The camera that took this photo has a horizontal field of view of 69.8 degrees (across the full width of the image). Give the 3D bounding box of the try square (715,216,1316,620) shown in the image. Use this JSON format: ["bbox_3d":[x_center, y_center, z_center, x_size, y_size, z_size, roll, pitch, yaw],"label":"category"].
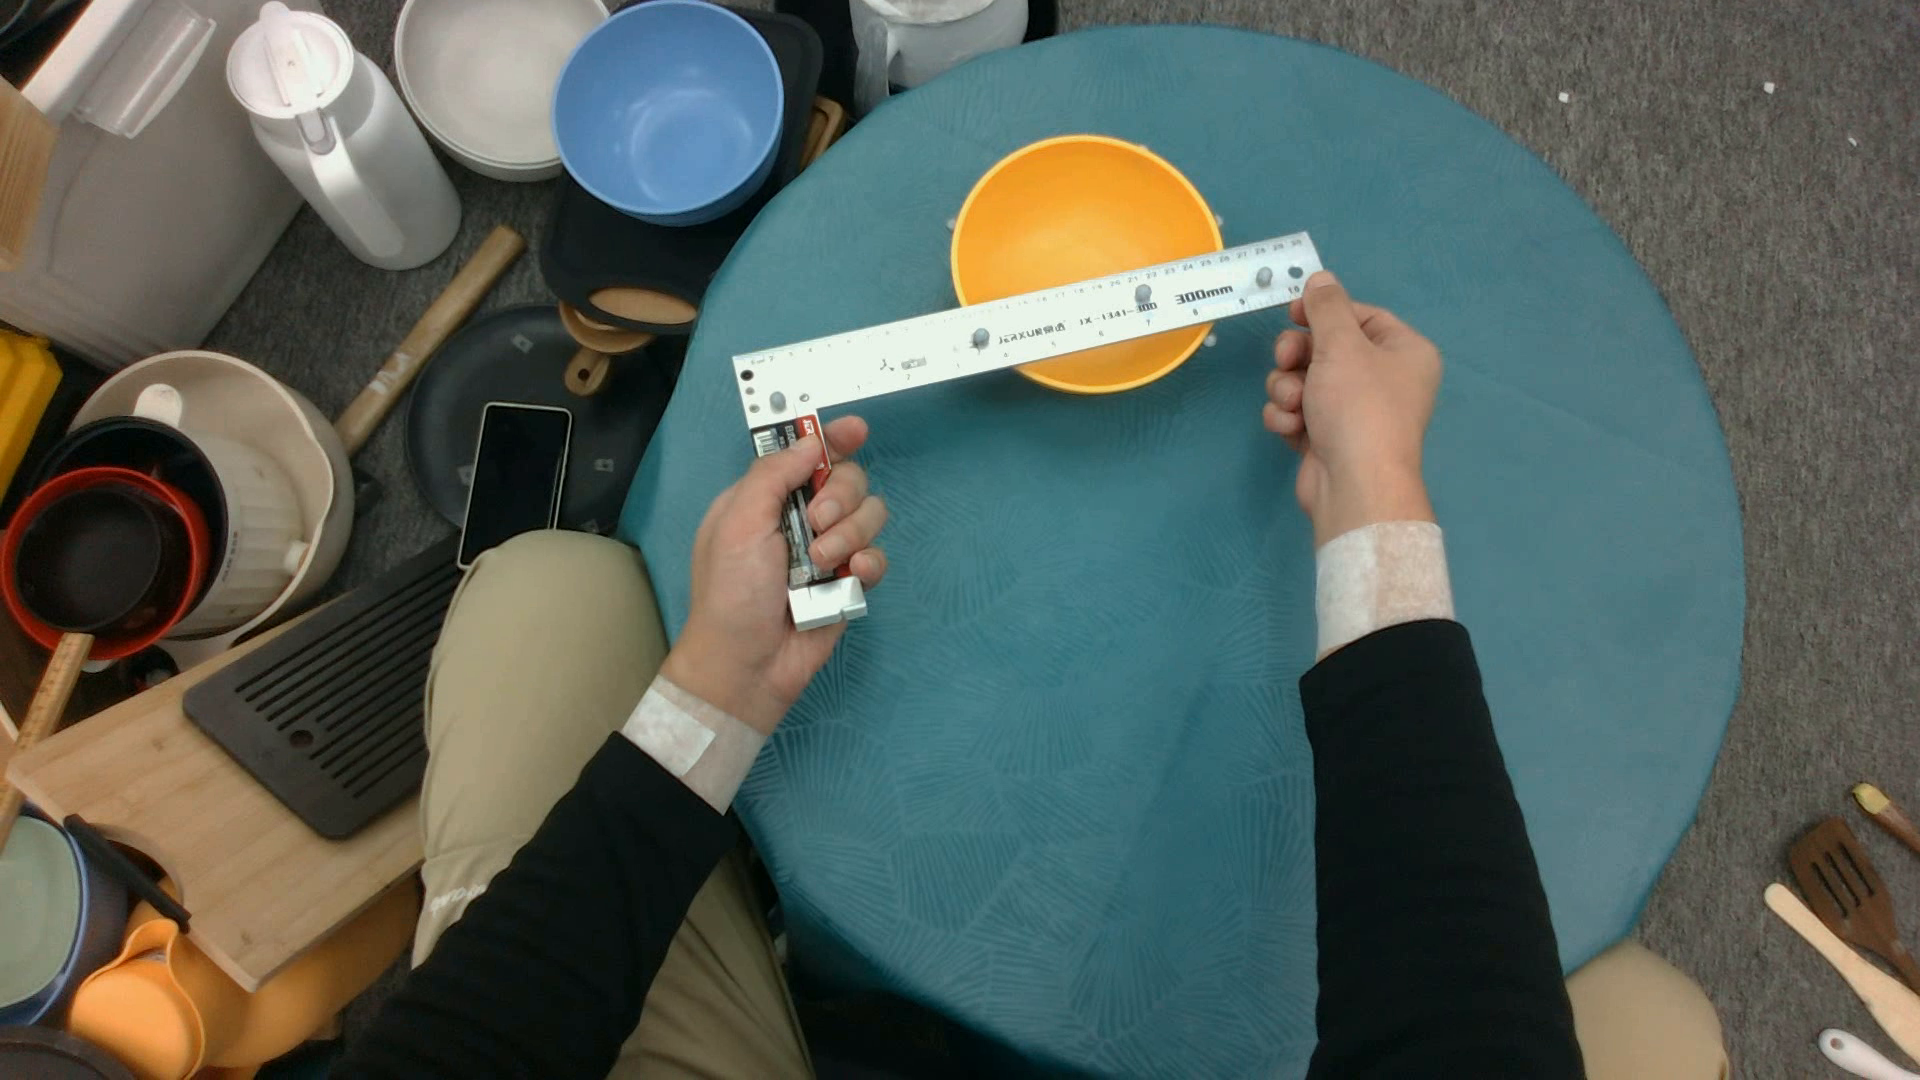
[{"bbox_3d":[0.044,-0.068,0.679,0.313,0.016,0.152,-14,67,-8],"label":"try square"}]

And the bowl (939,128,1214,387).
[{"bbox_3d":[0.060,-0.144,0.747,0.145,0.060,0.145,0,79,-2],"label":"bowl"}]
